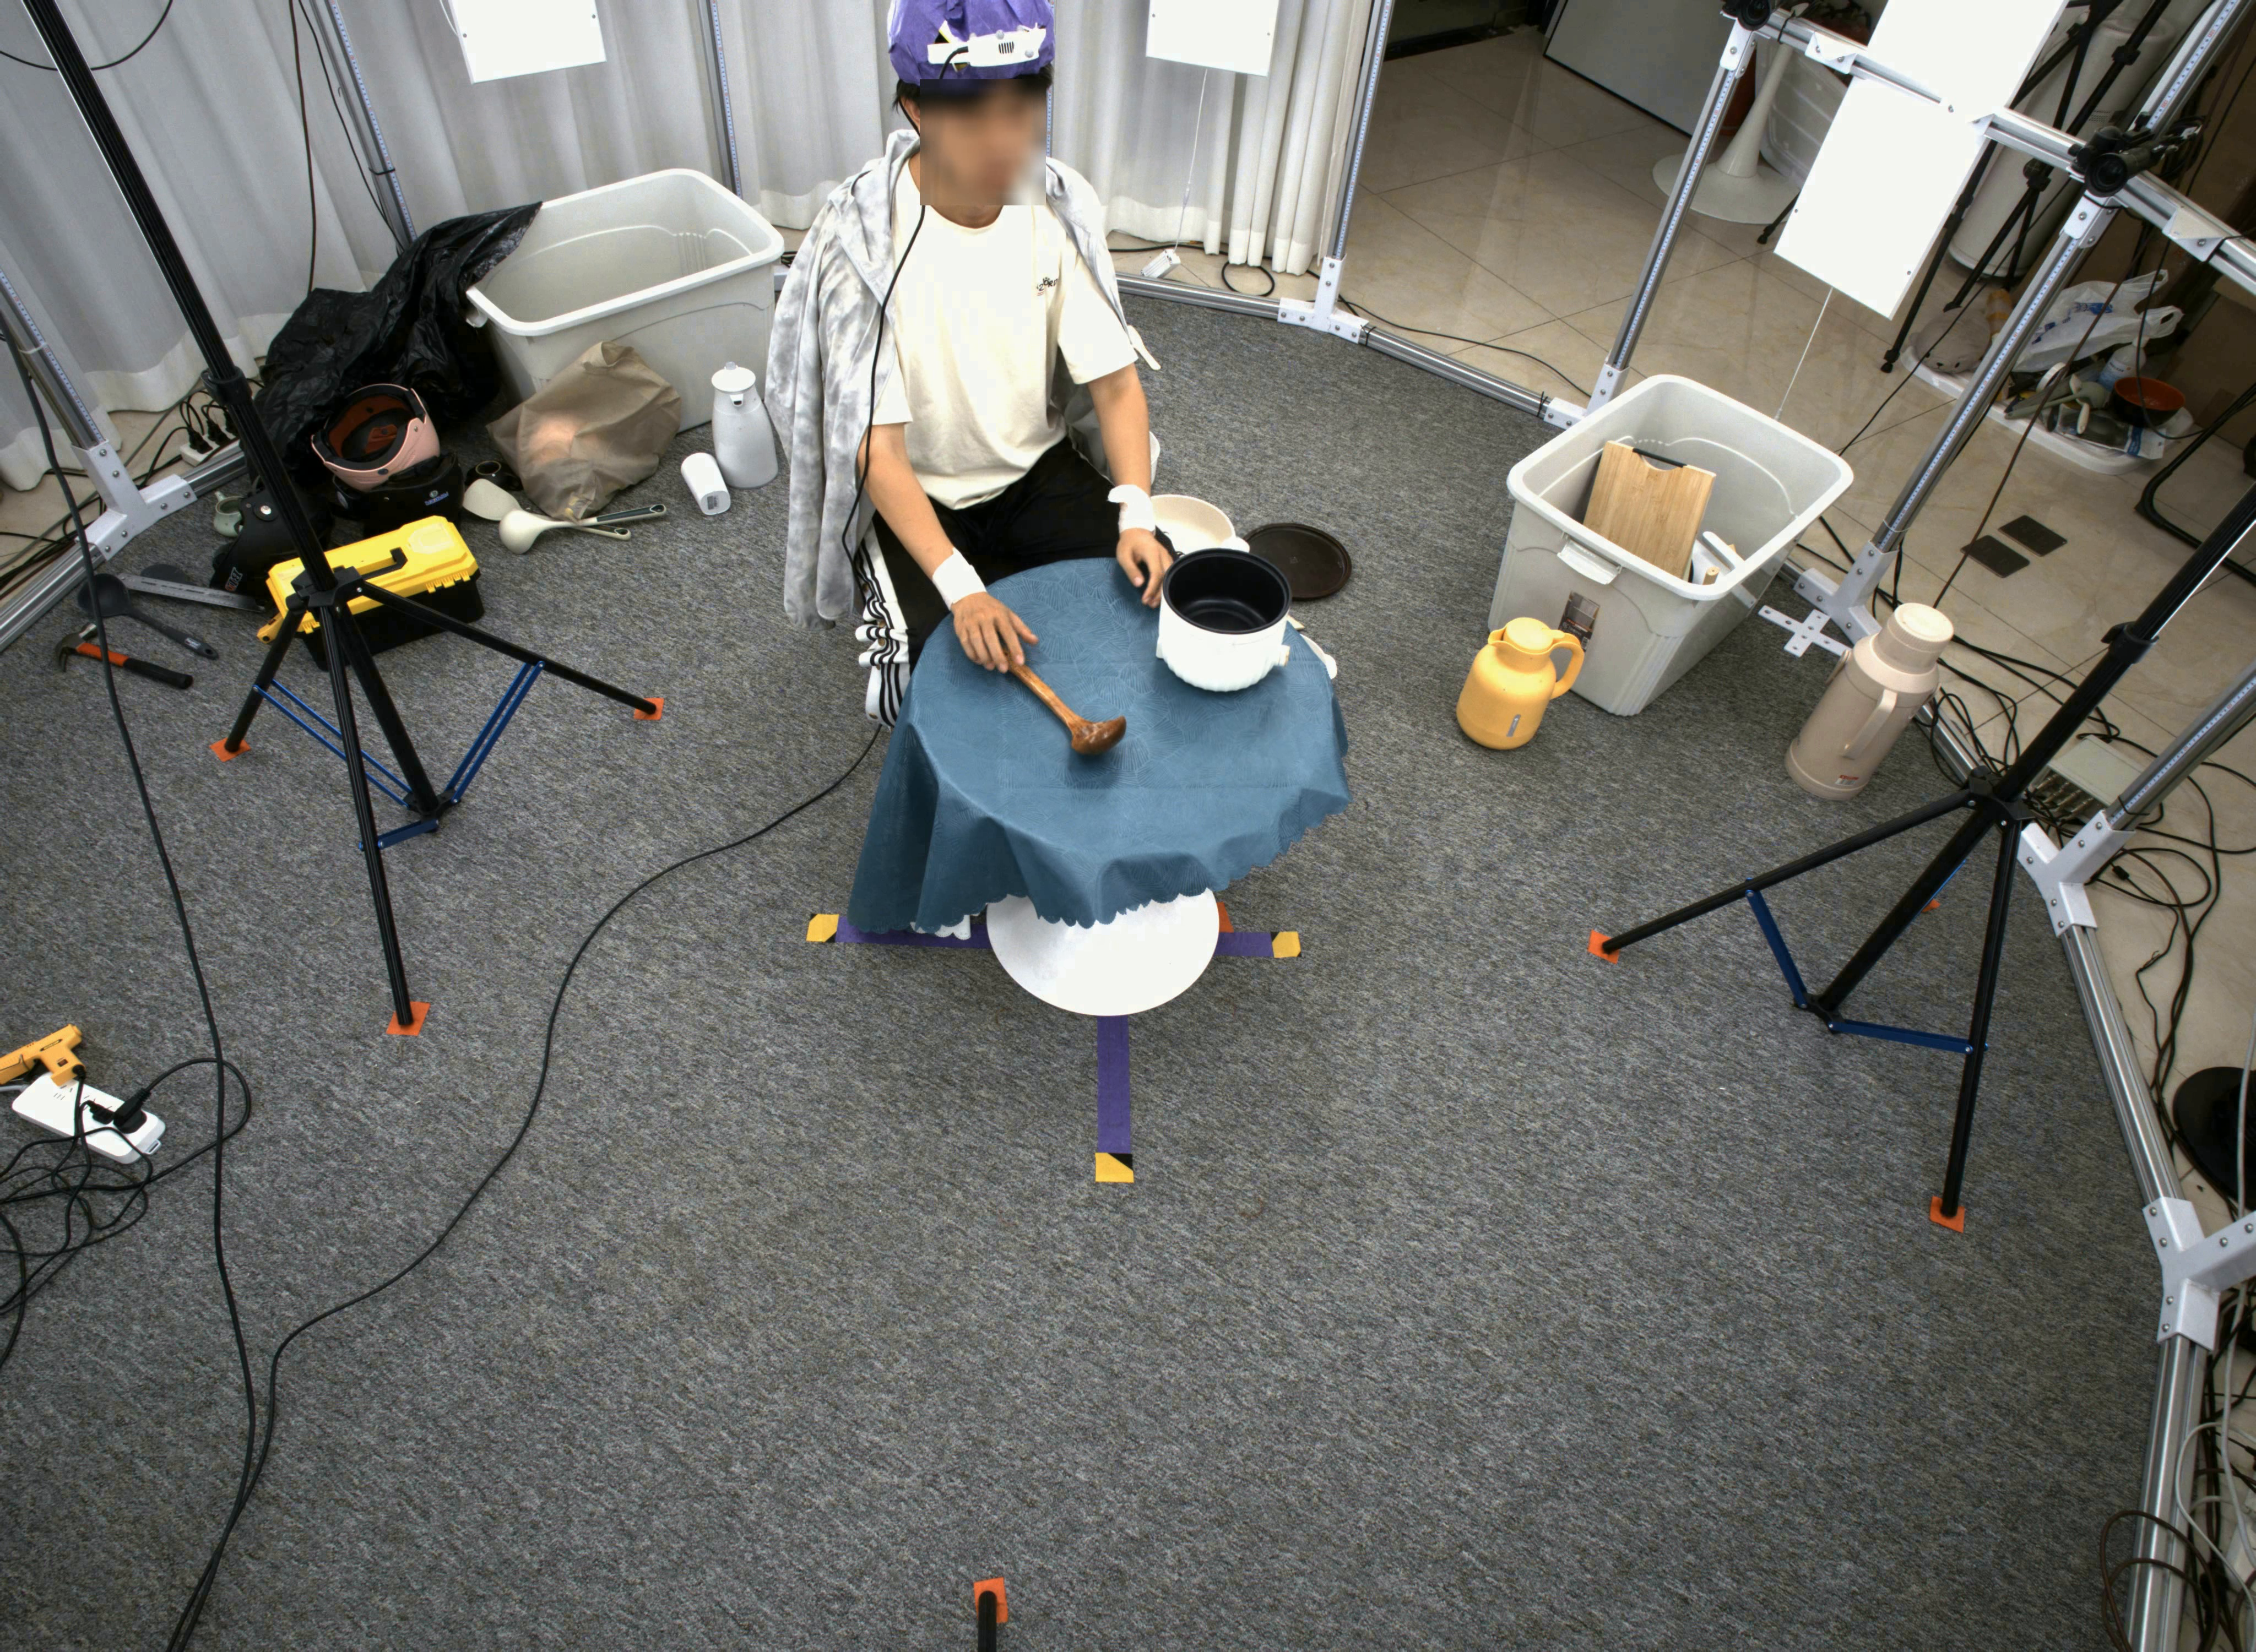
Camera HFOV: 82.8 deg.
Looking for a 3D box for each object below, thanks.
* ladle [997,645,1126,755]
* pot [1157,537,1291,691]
[{"bbox_3d":[-0.103,-0.189,1.768,0.082,0.075,0.279,-27,56,-25],"label":"ladle"},{"bbox_3d":[0.139,-0.288,1.831,0.191,0.139,0.246,7,50,6],"label":"pot"}]
